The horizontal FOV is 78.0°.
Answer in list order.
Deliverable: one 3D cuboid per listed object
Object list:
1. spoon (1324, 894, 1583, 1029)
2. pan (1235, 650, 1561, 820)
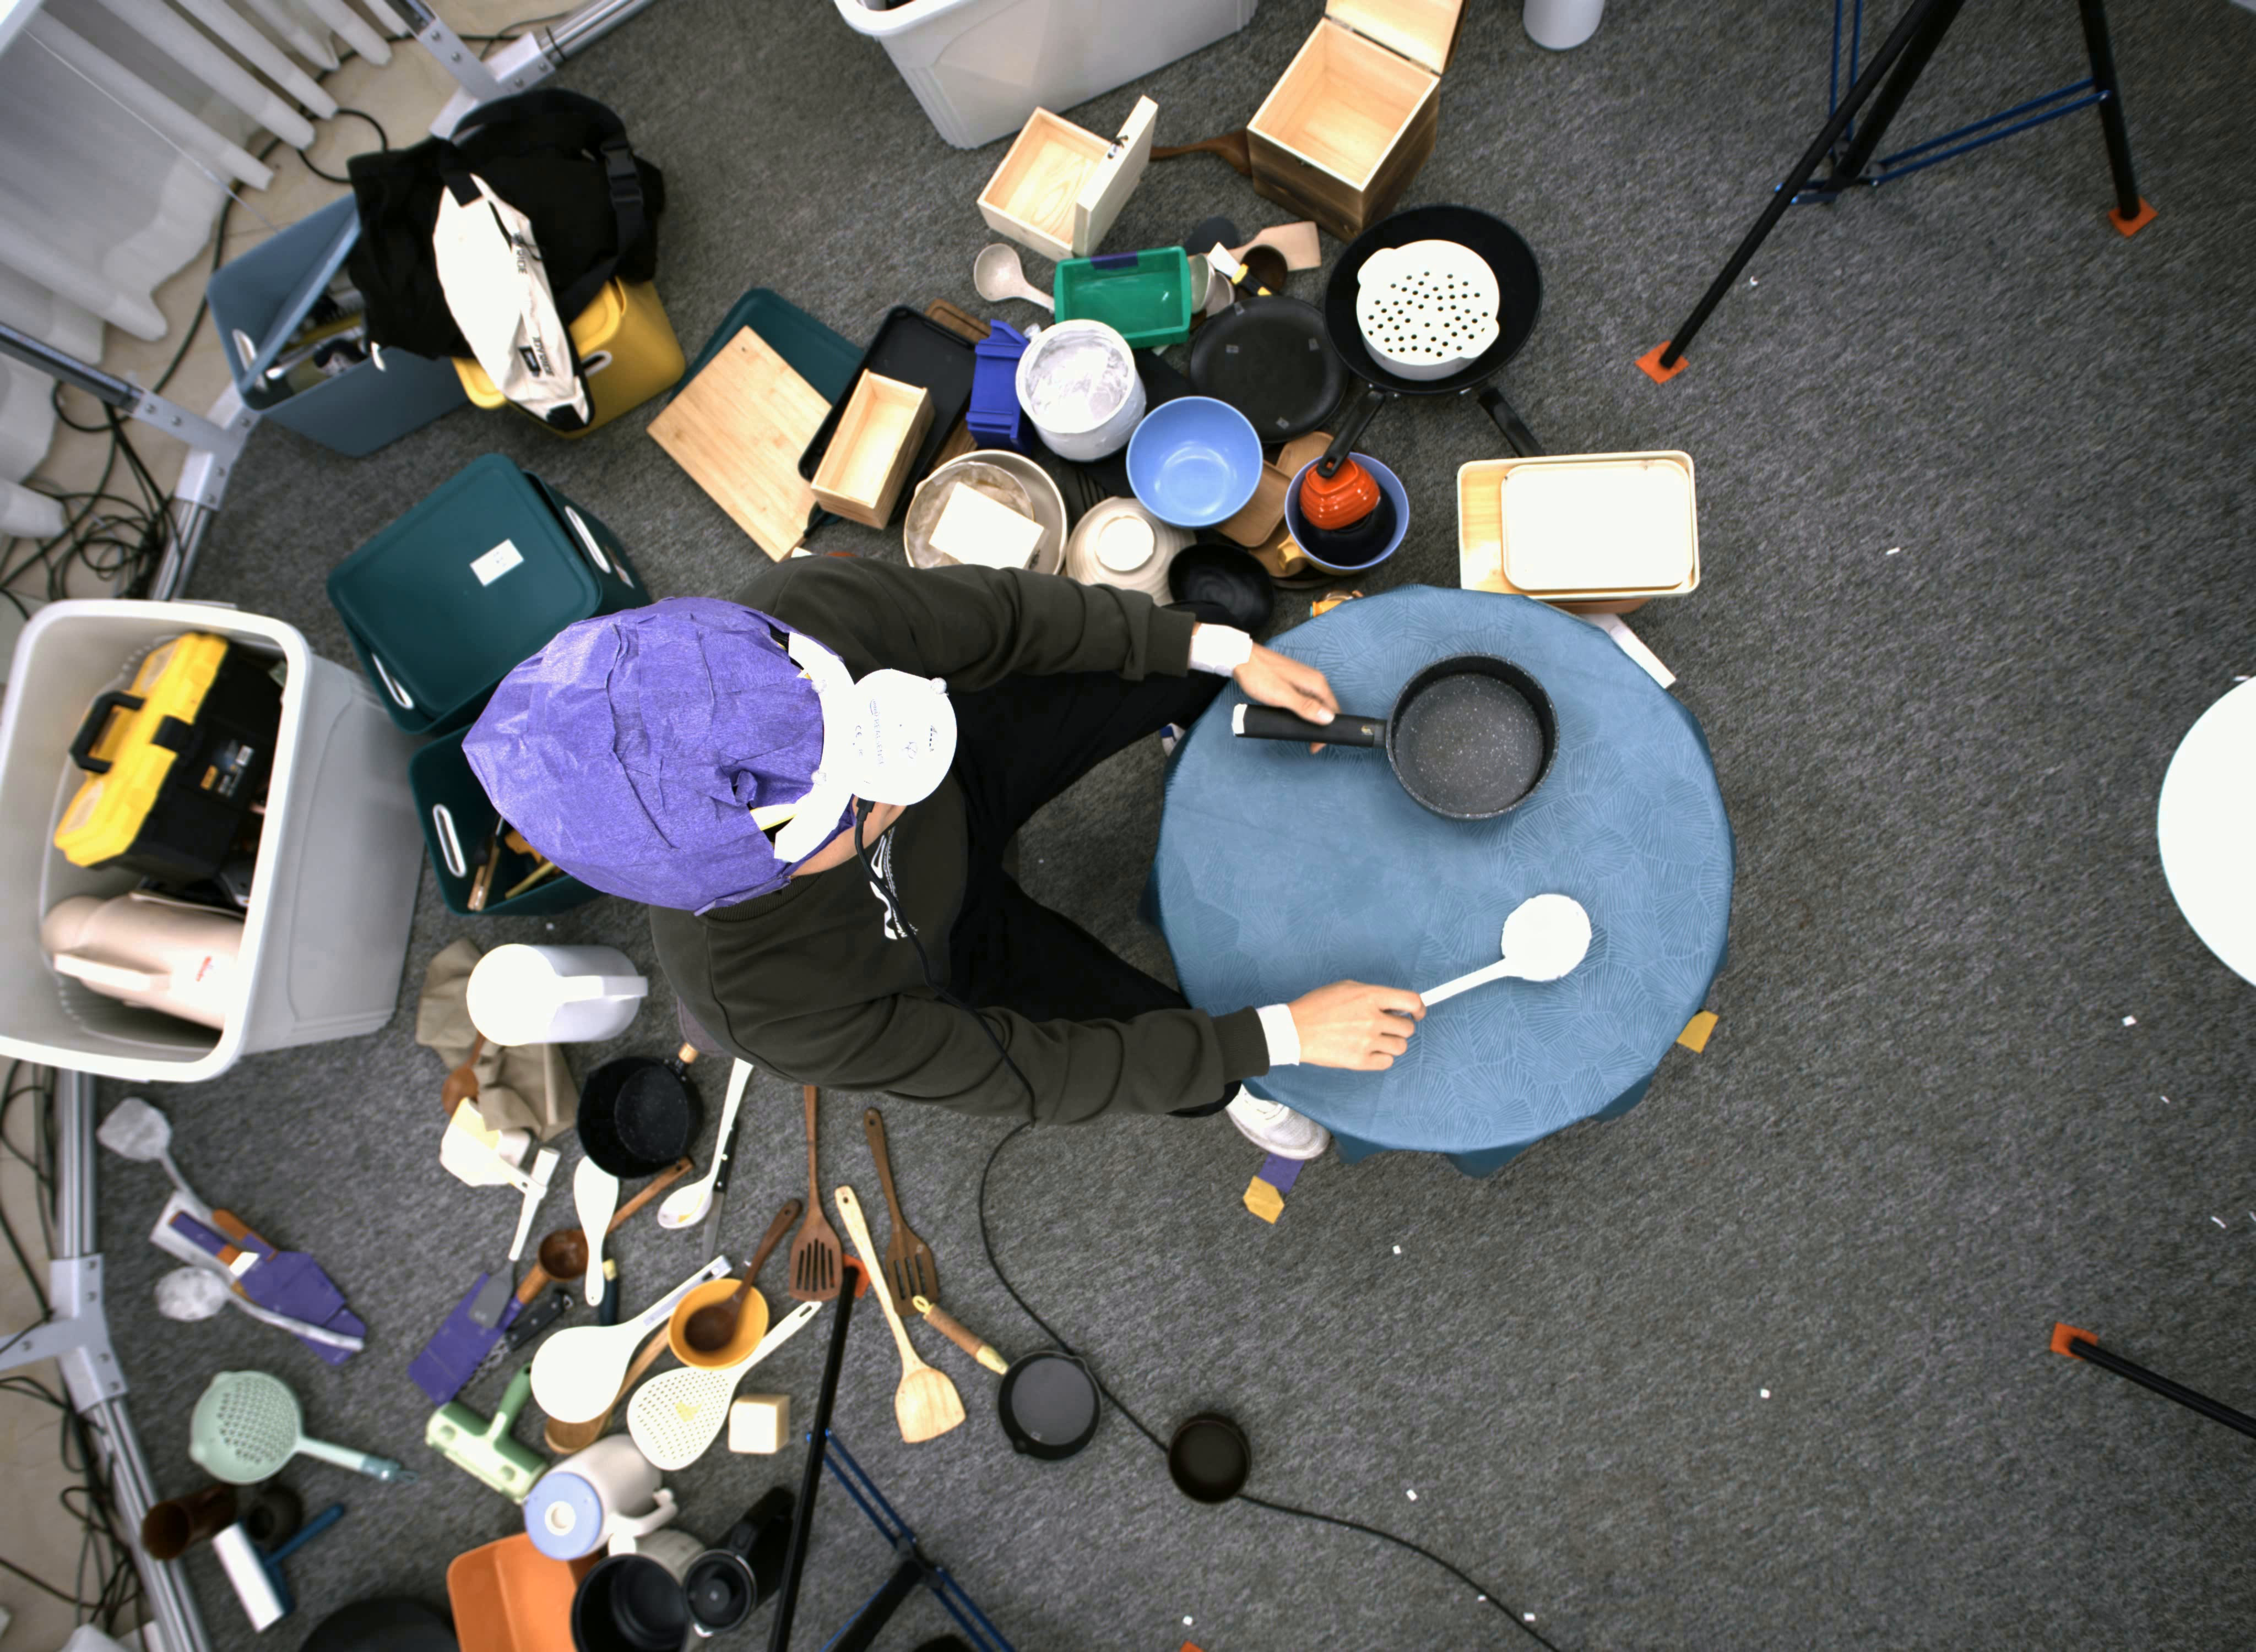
[{"bbox_3d":[0.325,0.136,1.396,0.277,0.098,0.060,-17,124,-3],"label":"spoon"},{"bbox_3d":[0.275,-0.100,1.426,0.329,0.086,0.171,7,86,10],"label":"pan"}]
